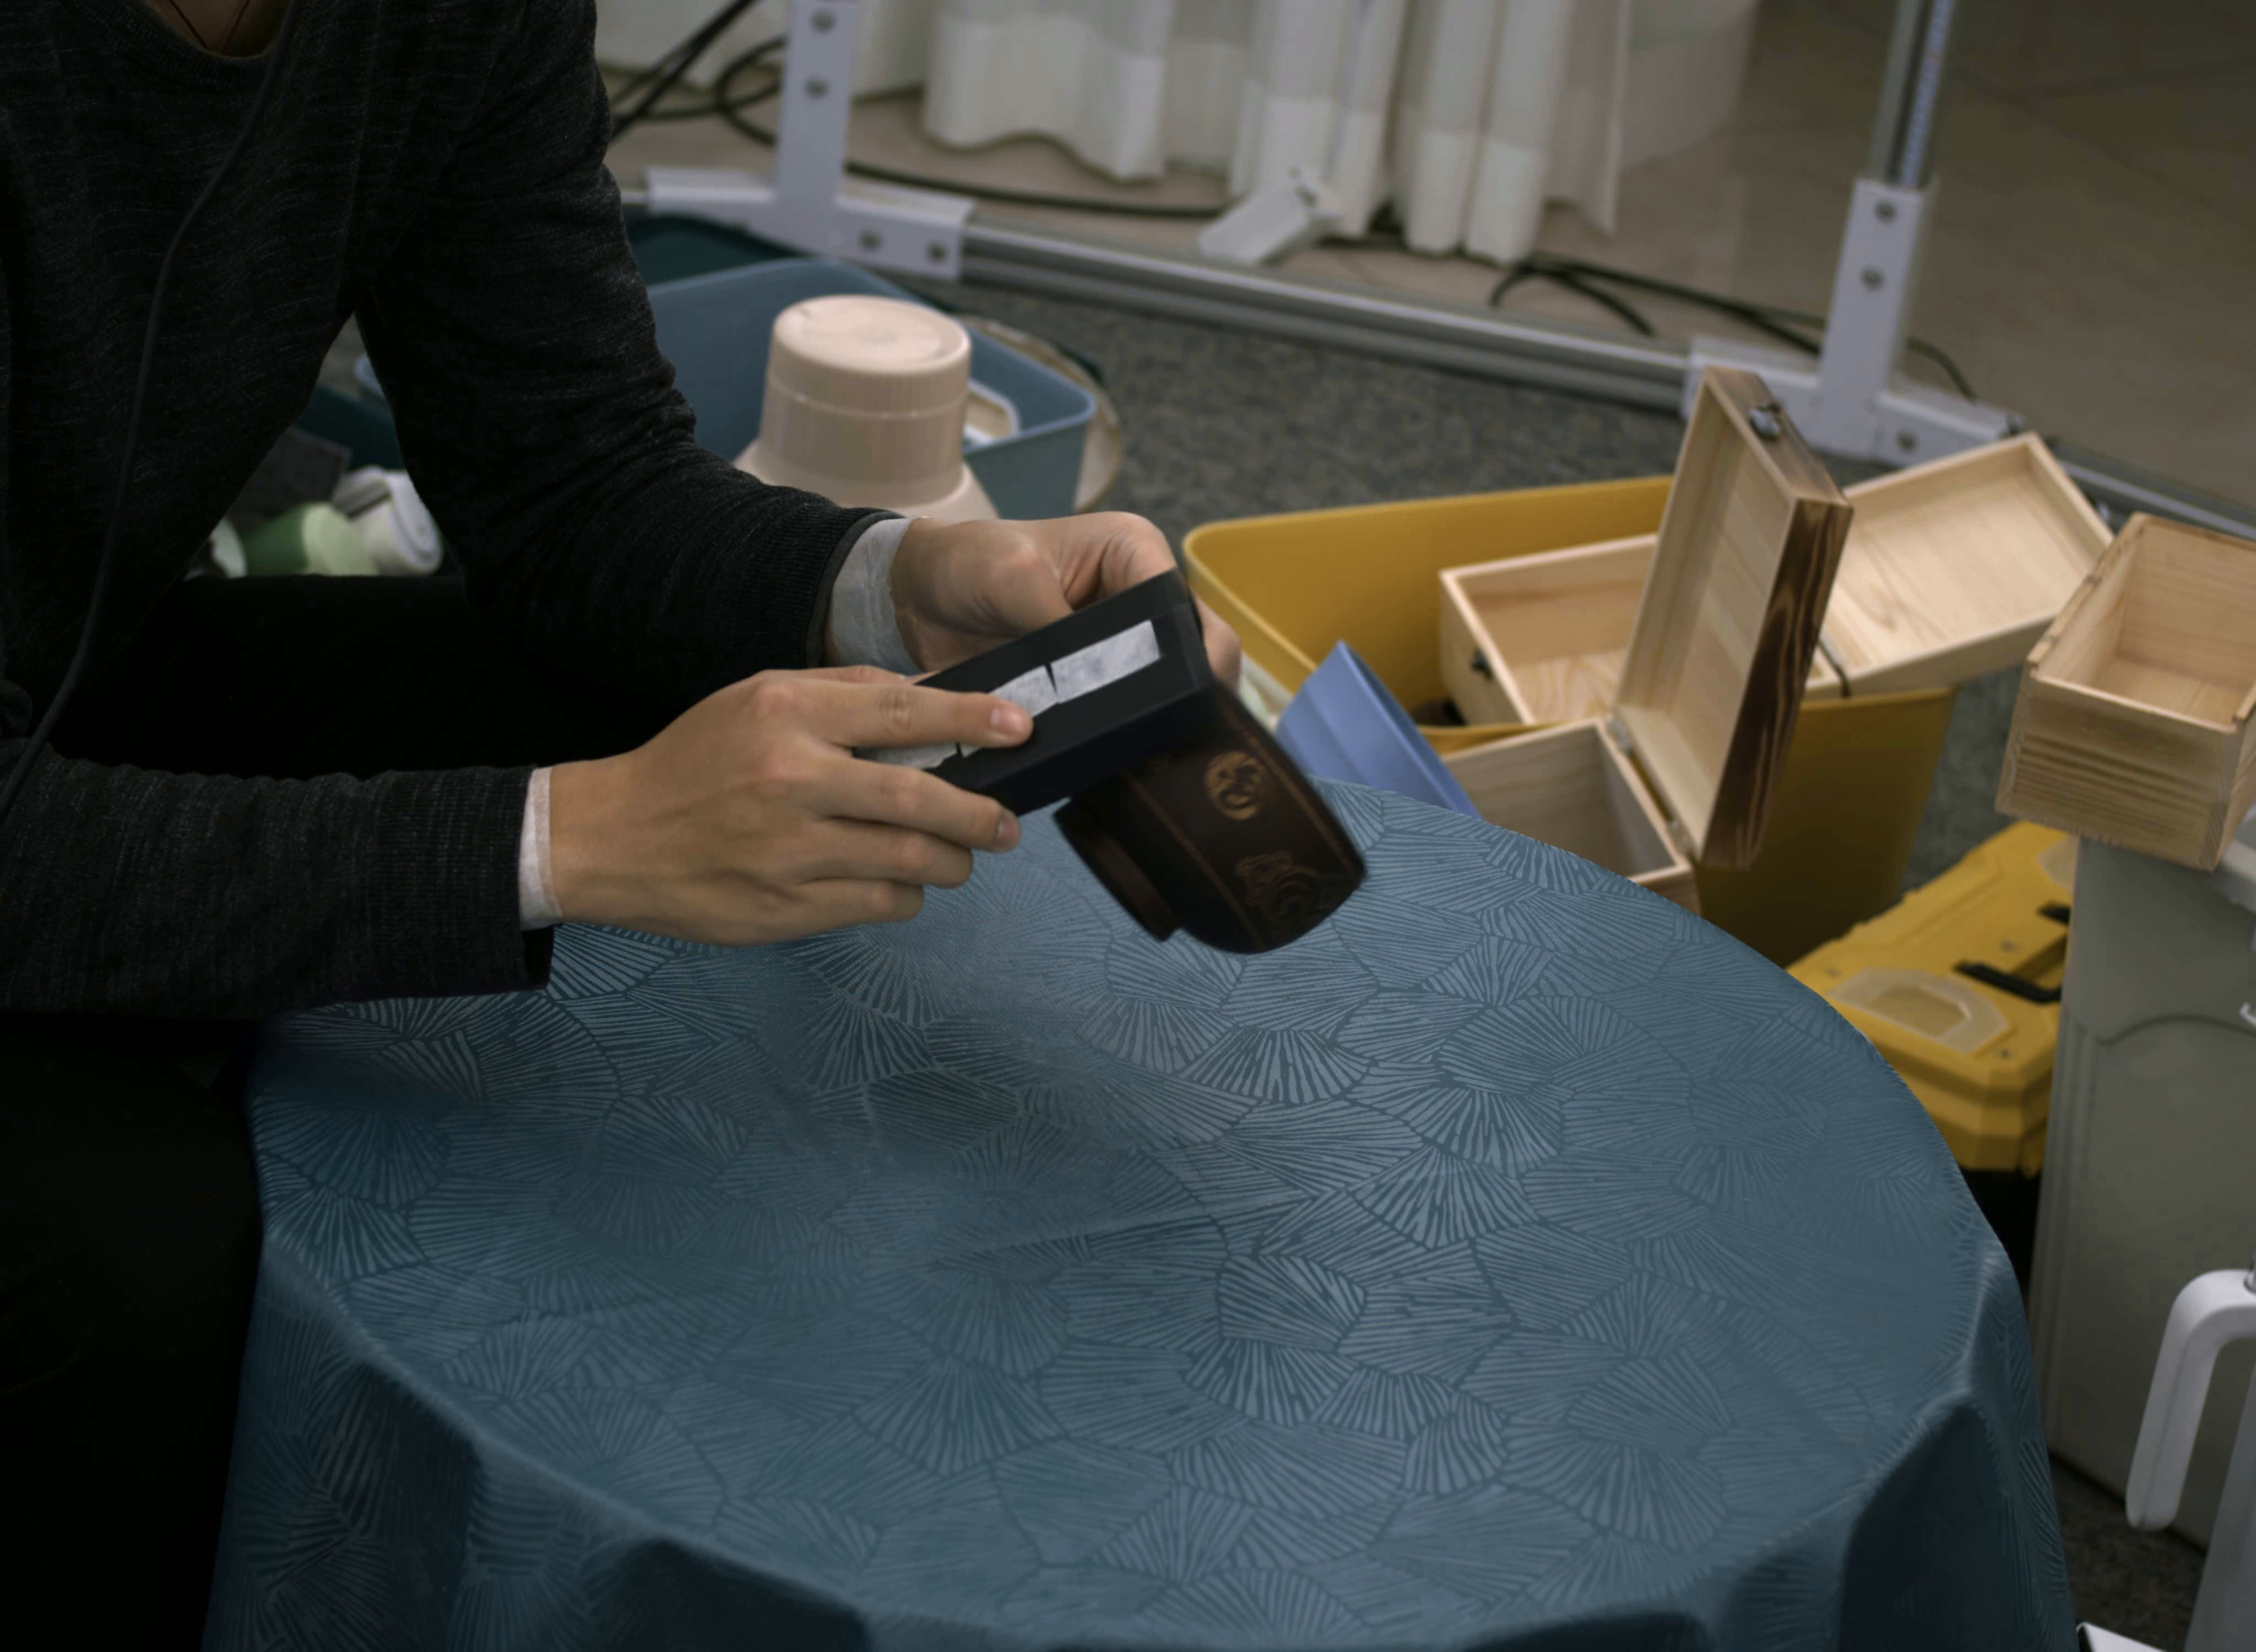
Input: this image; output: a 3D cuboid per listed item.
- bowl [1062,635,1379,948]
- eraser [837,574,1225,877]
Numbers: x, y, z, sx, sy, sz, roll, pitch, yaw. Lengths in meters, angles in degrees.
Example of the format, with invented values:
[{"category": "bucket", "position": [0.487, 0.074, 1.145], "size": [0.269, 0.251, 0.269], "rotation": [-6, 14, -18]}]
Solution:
[{"category": "bowl", "position": [0.021, -0.006, 1.792], "size": [0.070, 0.117, 0.119], "rotation": [-43, 40, -3]}, {"category": "eraser", "position": [-0.032, -0.033, 1.744], "size": [0.125, 0.030, 0.054], "rotation": [-26, 55, 10]}]
